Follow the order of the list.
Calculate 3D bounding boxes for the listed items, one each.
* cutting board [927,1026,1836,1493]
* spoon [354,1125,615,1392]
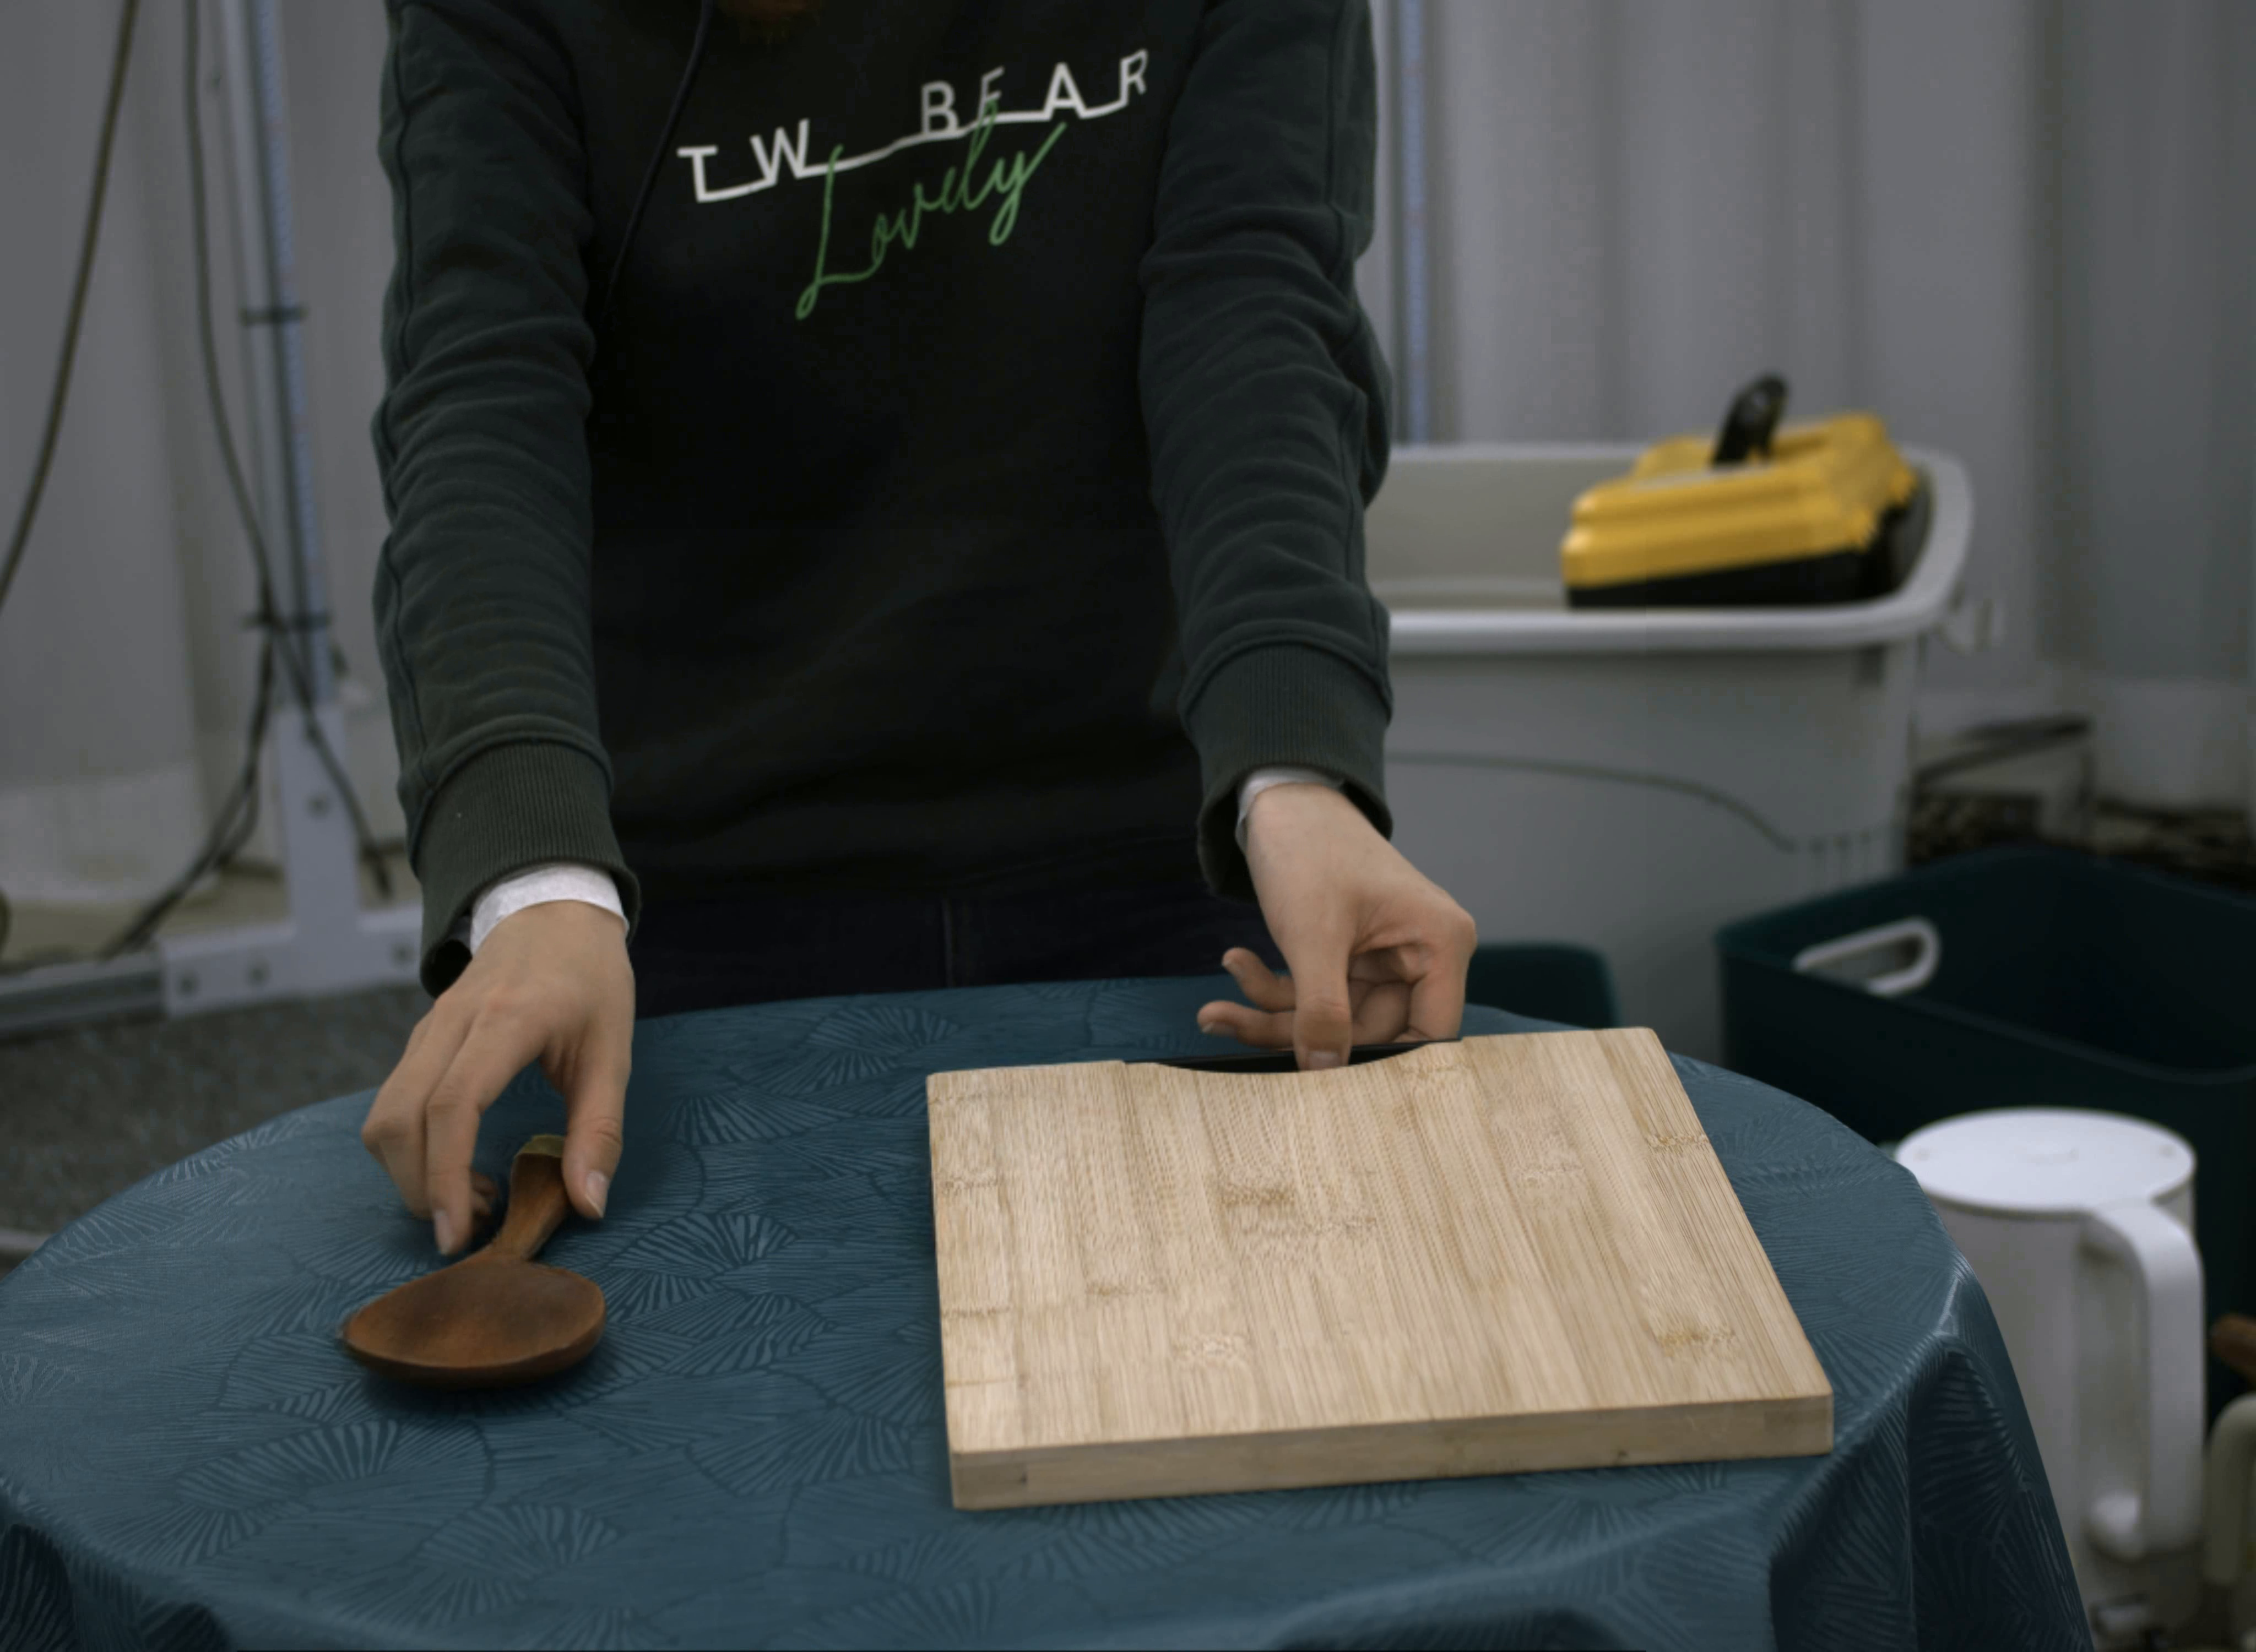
[{"bbox_3d":[0.063,0.125,1.635,0.250,0.023,0.351,-3,15,-3],"label":"cutting board"},{"bbox_3d":[-0.185,0.132,1.651,0.075,0.017,0.217,-4,15,3],"label":"spoon"}]
